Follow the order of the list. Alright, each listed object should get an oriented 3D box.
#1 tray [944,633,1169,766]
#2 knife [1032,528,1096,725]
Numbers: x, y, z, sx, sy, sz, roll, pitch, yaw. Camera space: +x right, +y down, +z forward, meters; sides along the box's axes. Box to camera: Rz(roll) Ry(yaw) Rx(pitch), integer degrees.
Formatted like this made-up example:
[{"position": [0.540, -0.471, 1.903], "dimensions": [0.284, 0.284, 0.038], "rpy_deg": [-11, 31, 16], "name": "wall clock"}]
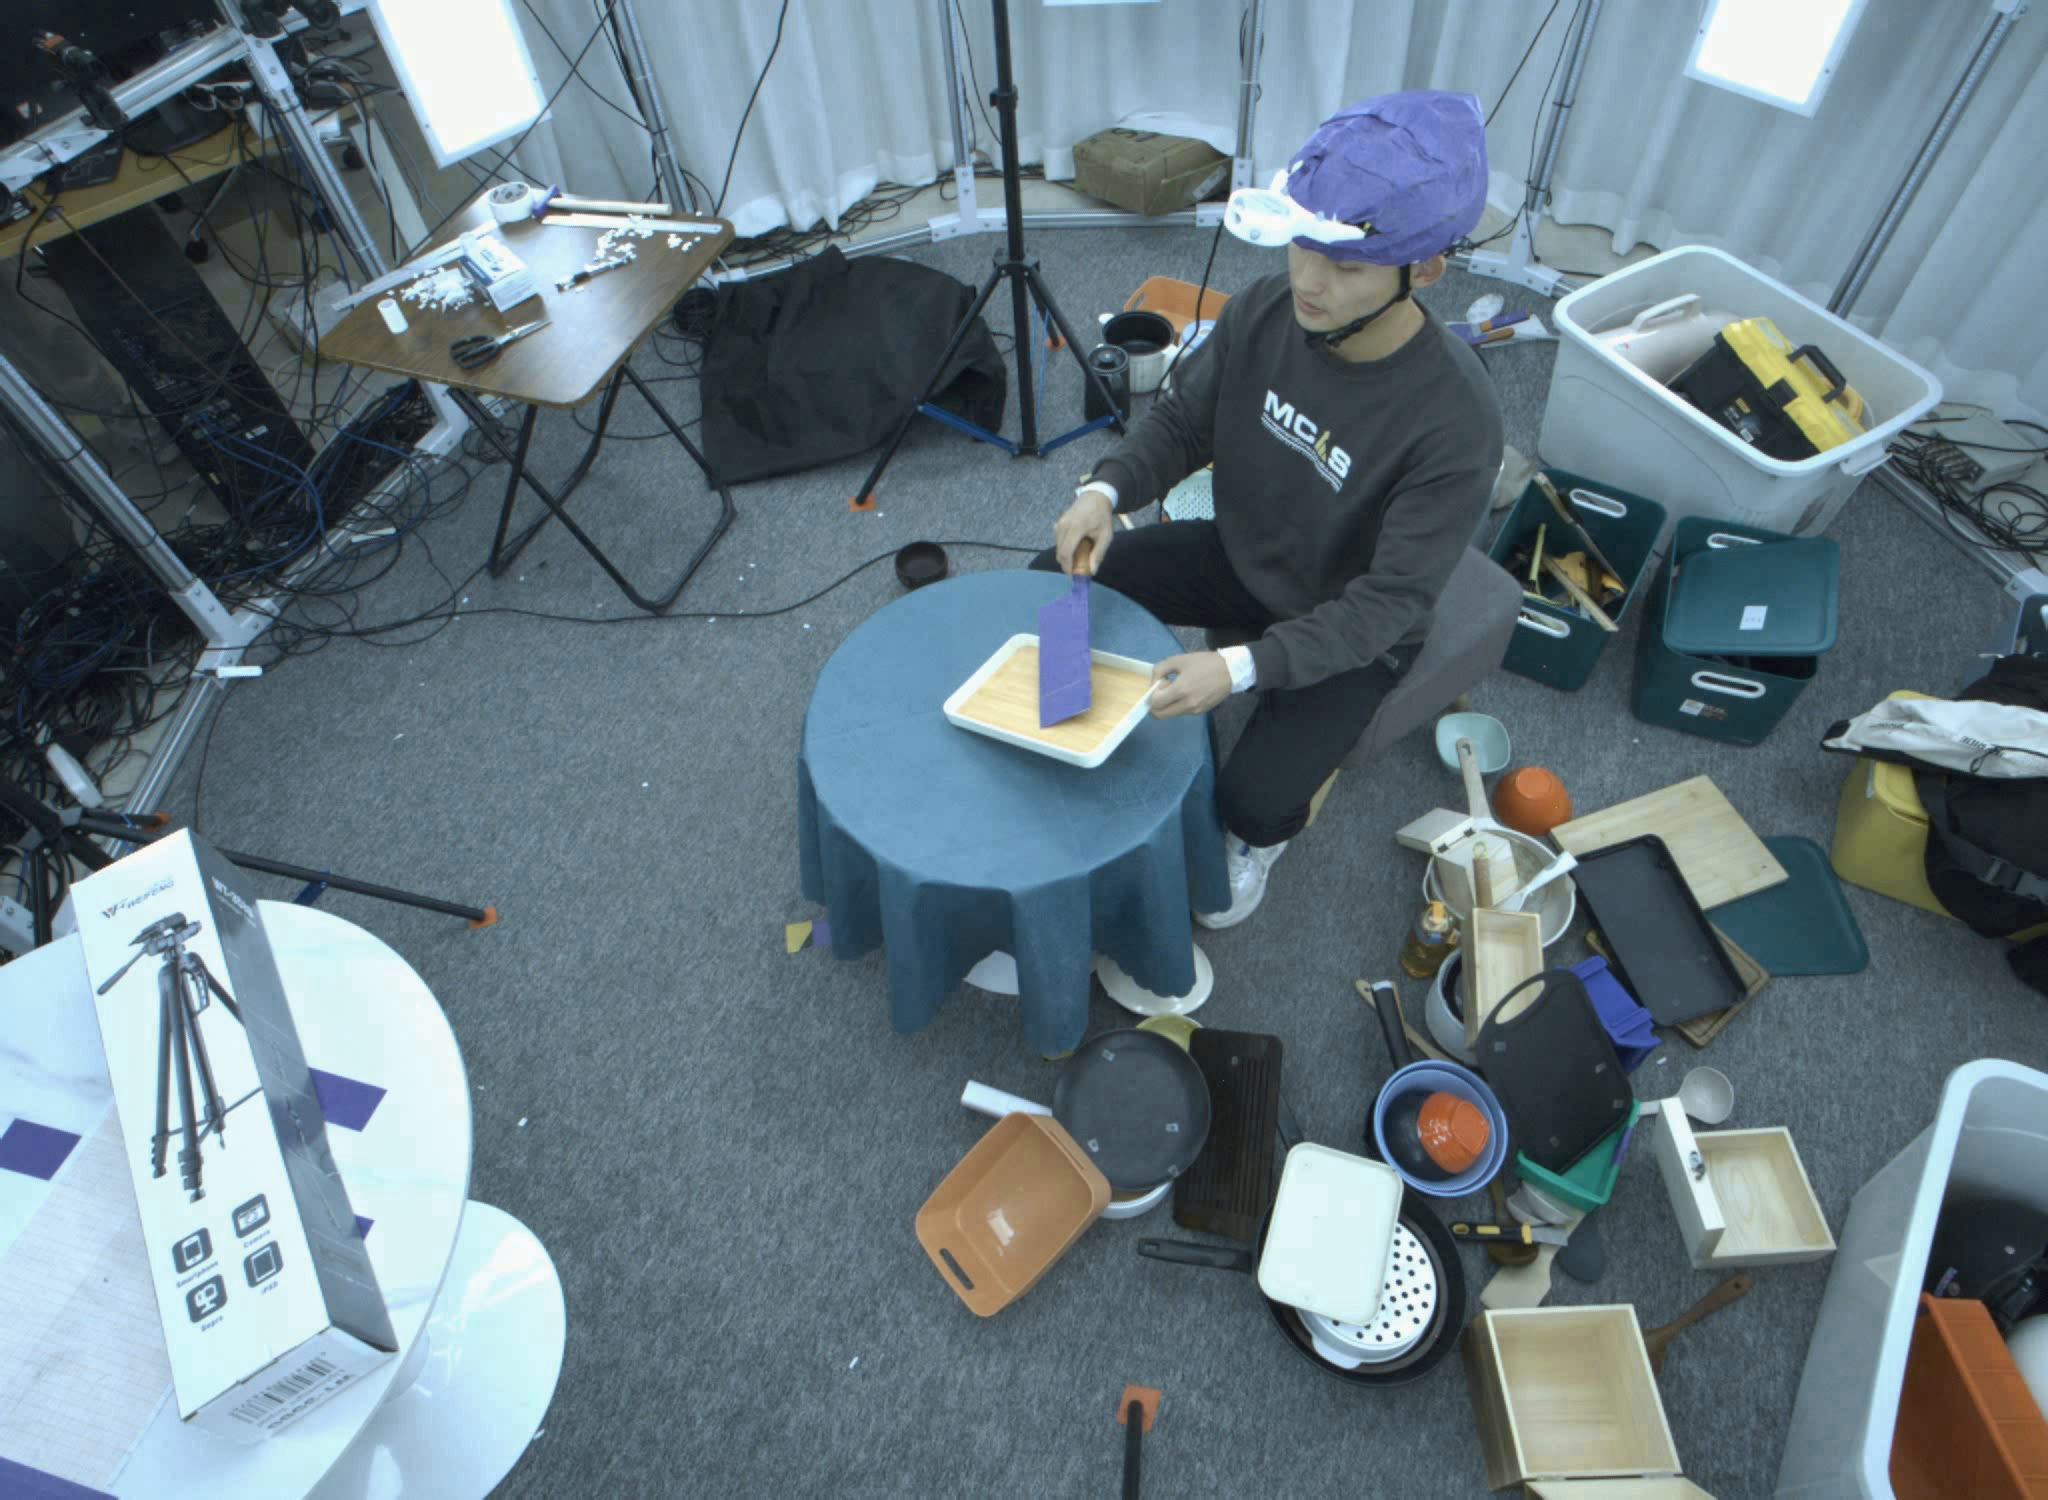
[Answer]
[{"position": [0.043, -0.079, 1.772], "dimensions": [0.293, 0.028, 0.192], "rpy_deg": [19, 54, 40], "name": "tray"}, {"position": [0.056, -0.183, 1.784], "dimensions": [0.102, 0.033, 0.312], "rpy_deg": [-20, 54, 31], "name": "knife"}]
